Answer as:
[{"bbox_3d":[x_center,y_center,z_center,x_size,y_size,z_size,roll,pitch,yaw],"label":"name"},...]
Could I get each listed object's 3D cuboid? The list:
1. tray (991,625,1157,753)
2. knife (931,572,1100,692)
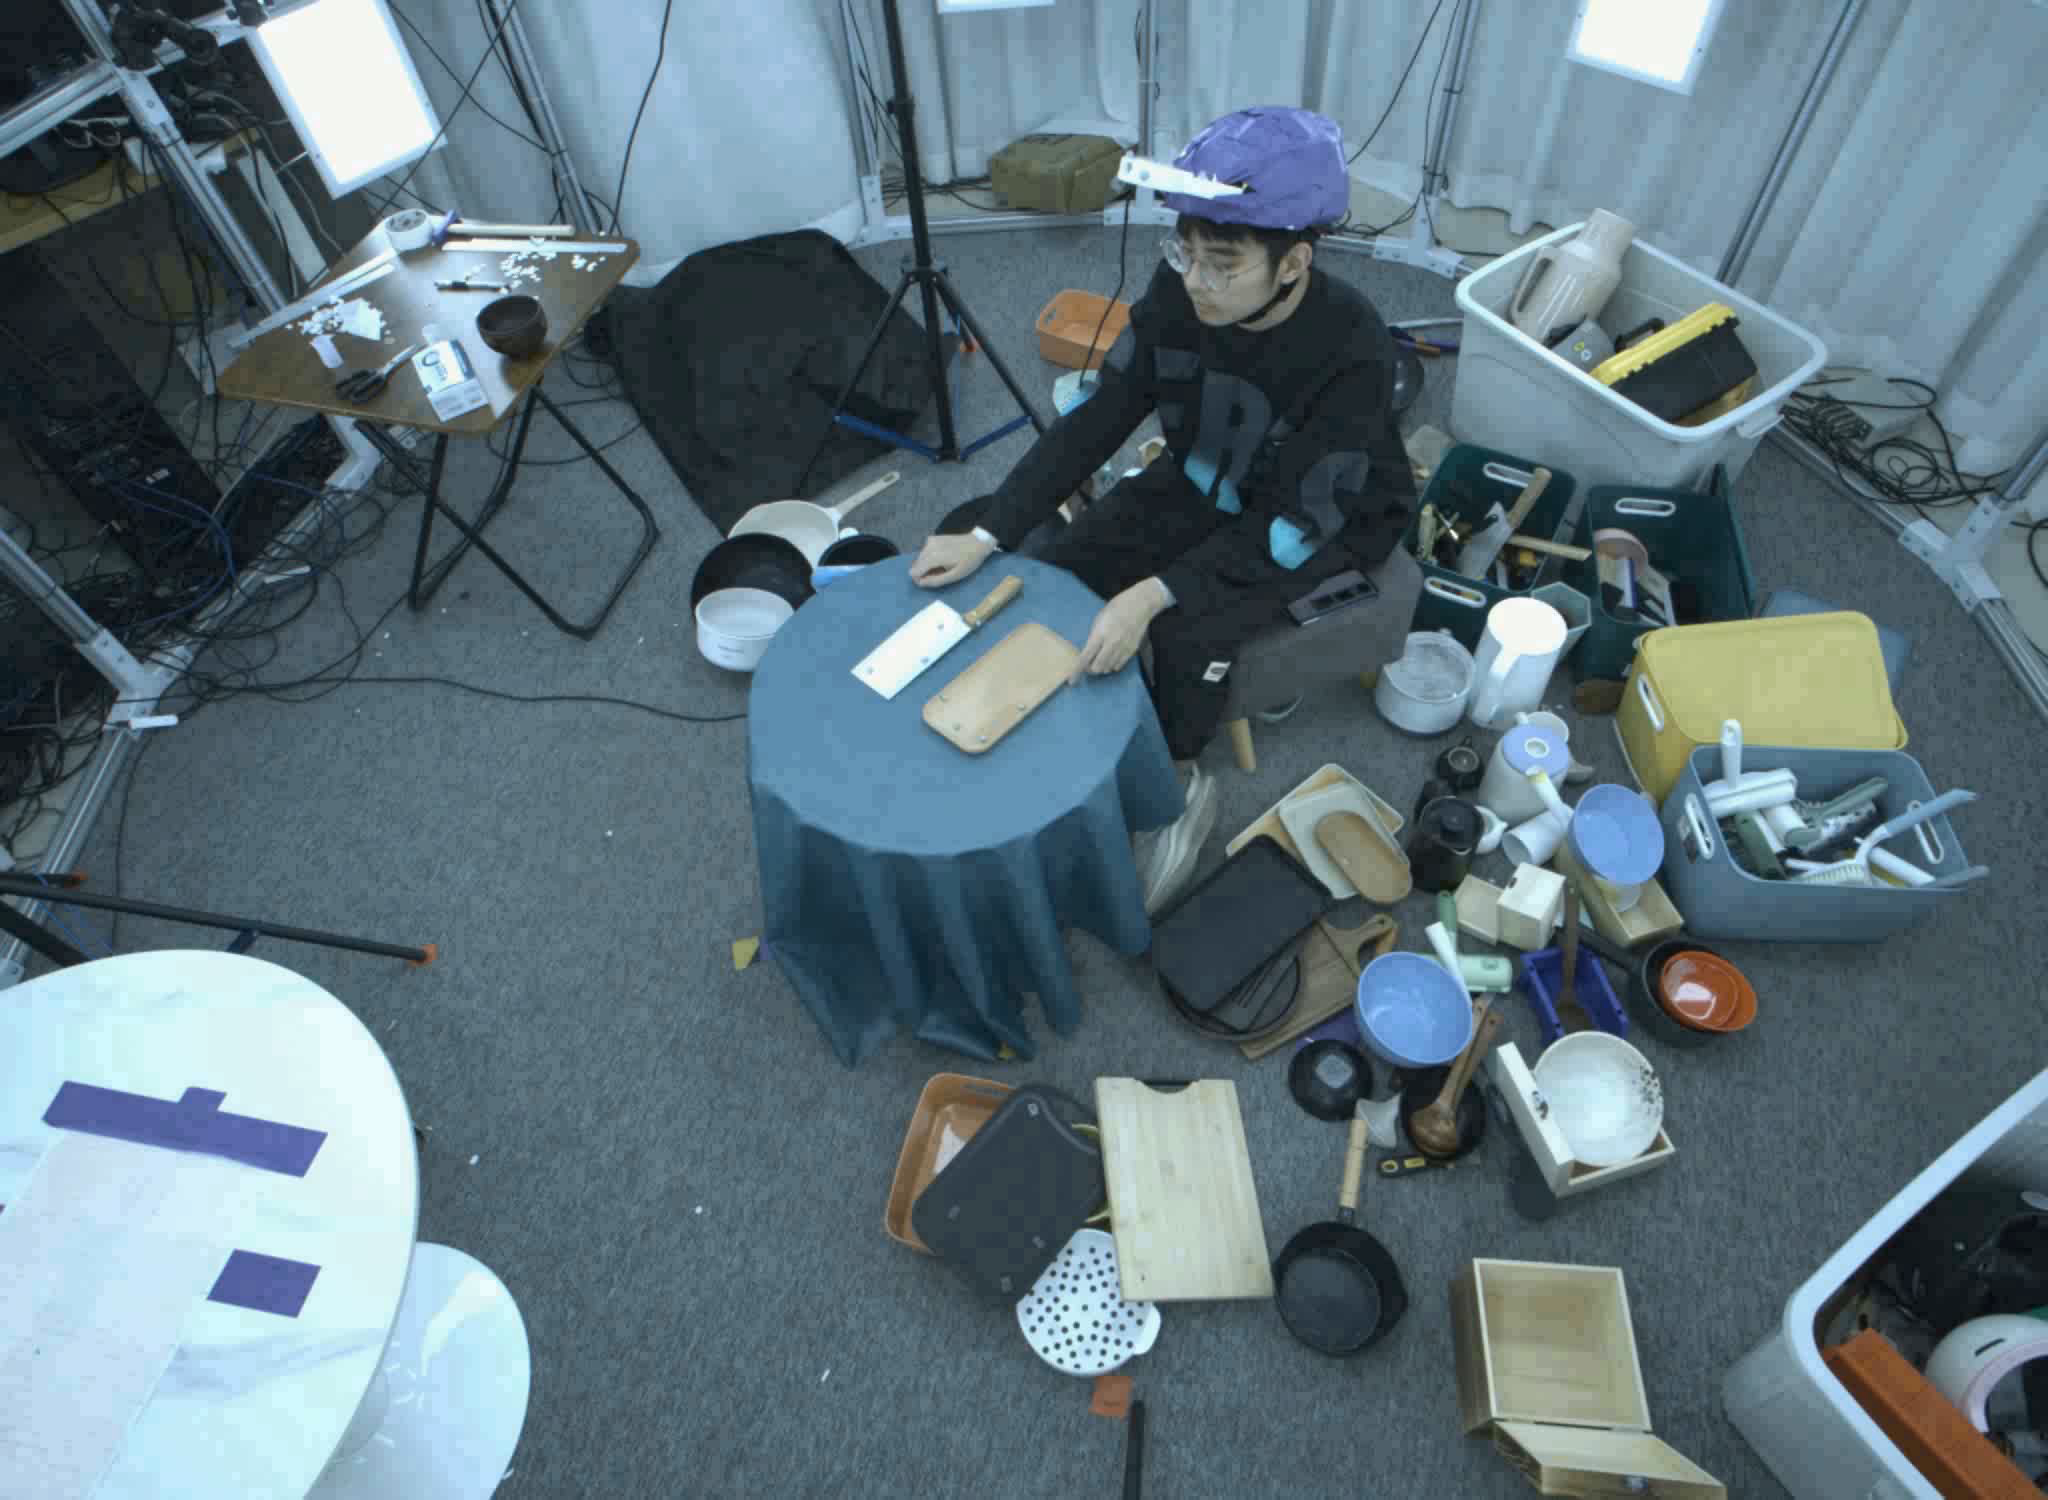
[{"bbox_3d":[0.076,-0.093,1.840,0.252,0.023,0.128,-36,63,-22],"label":"tray"},{"bbox_3d":[-0.017,-0.198,1.919,0.308,0.021,0.091,-39,60,-20],"label":"knife"}]
